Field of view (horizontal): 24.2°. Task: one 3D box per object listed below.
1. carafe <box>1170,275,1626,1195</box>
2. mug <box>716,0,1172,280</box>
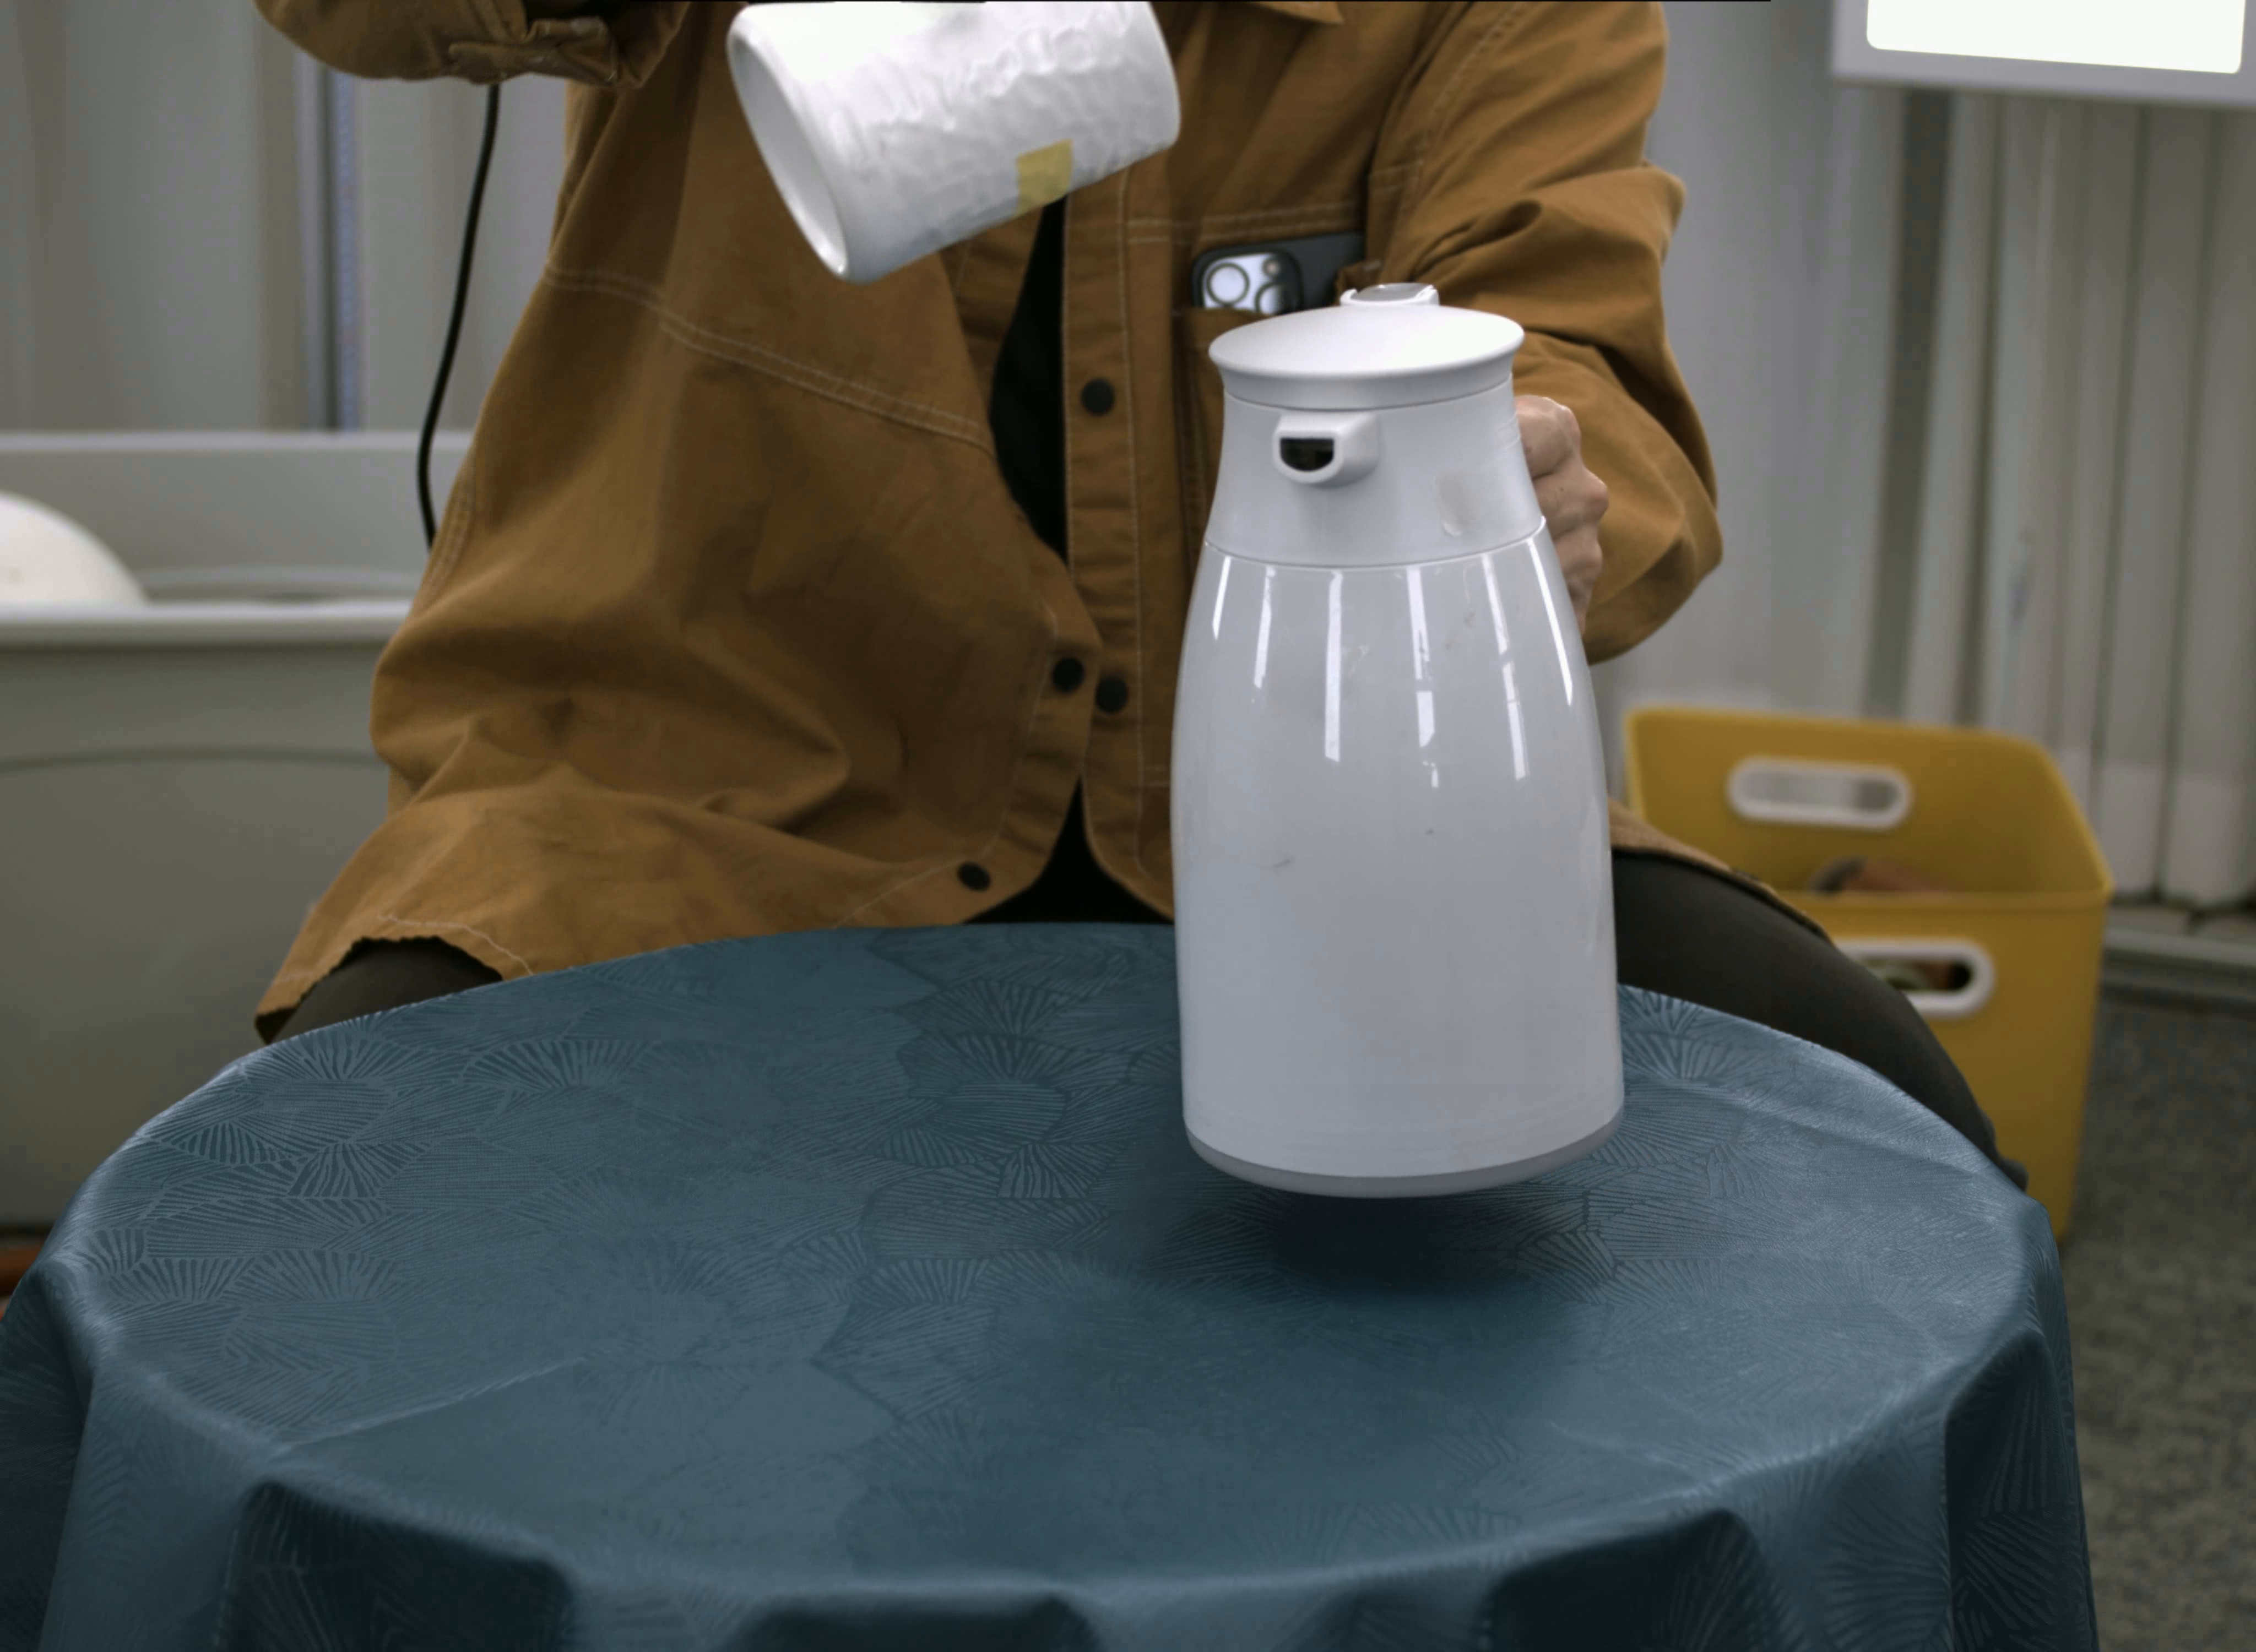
[{"bbox_3d":[0.080,-0.035,1.562,0.131,0.251,0.167,1,17,17],"label":"carafe"},{"bbox_3d":[-0.060,-0.221,1.466,0.102,0.086,0.117,-27,61,-11],"label":"mug"}]
